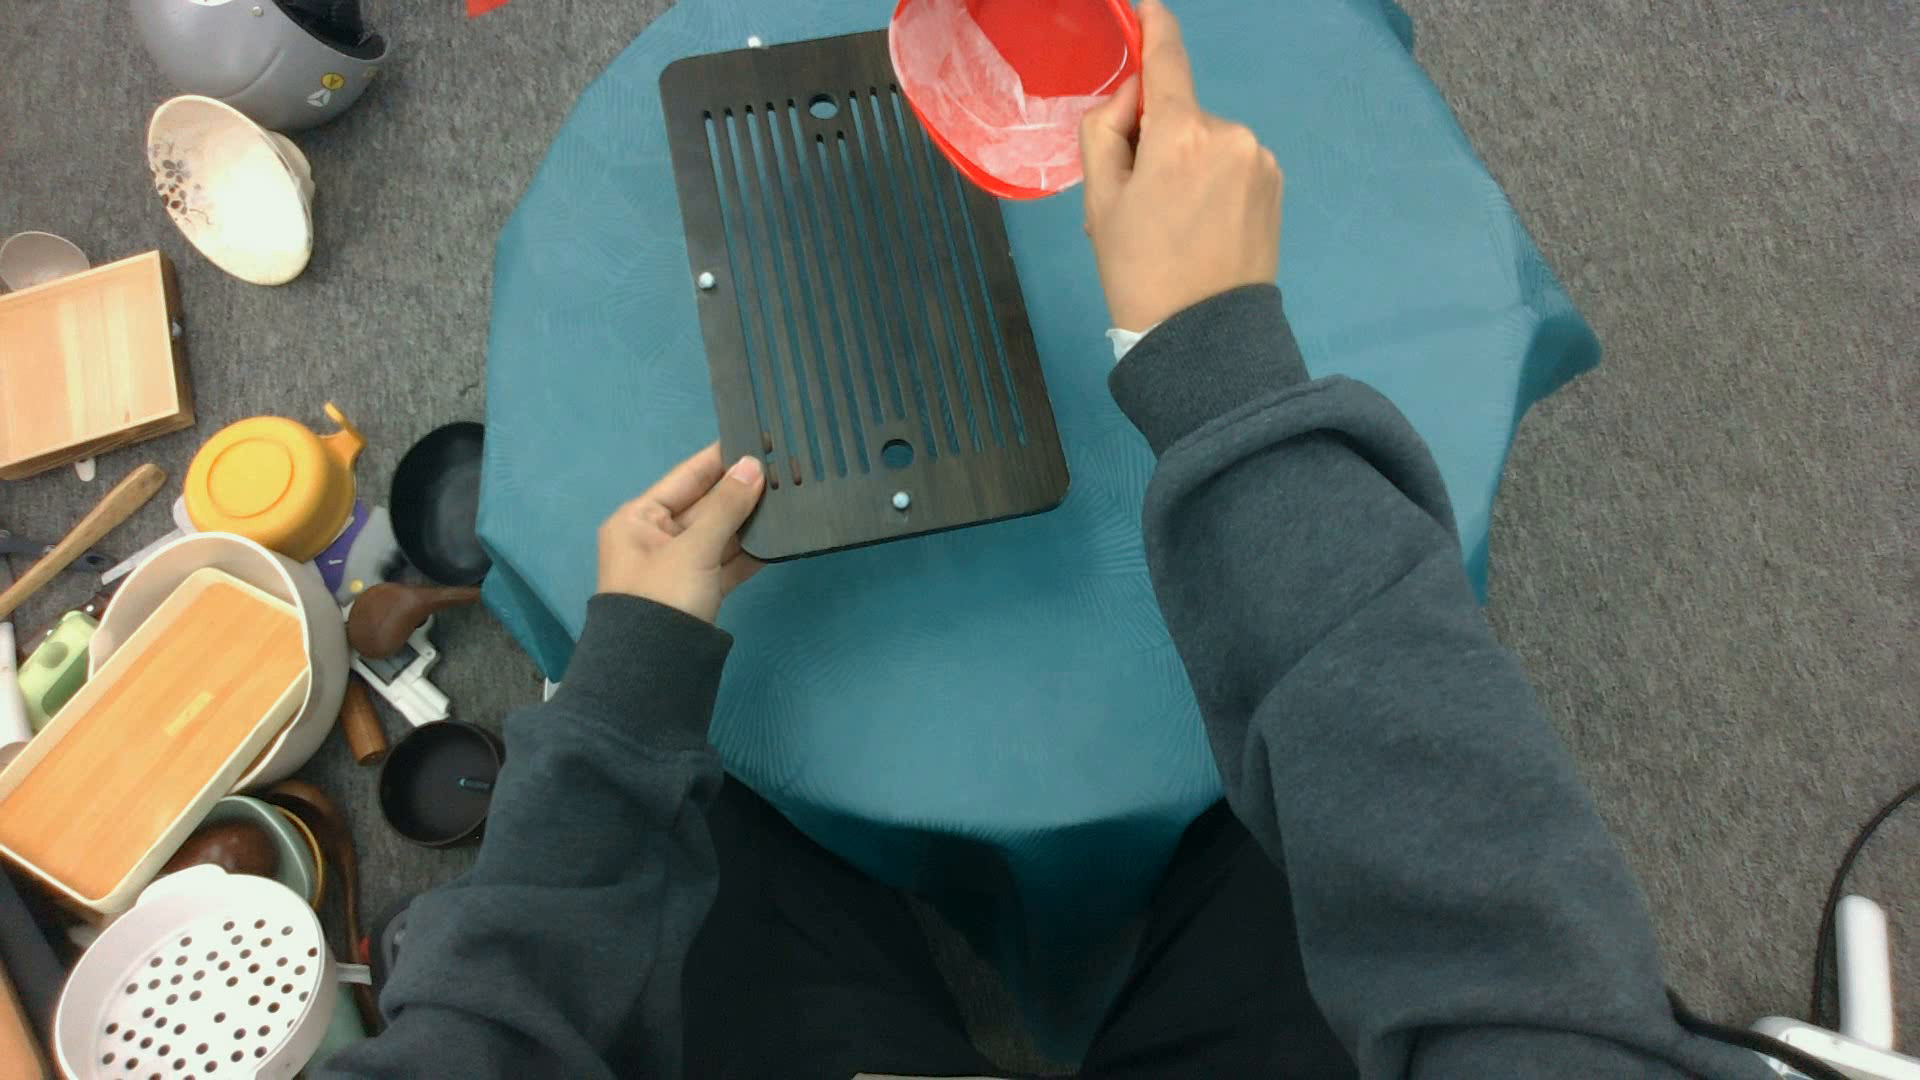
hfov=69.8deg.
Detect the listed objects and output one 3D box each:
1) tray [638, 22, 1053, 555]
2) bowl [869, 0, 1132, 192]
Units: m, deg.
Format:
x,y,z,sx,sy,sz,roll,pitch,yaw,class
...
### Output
x,y,z,sx,sy,sz,roll,pitch,yaw,class
-0.067,-0.144,0.734,0.170,0.018,0.306,-11,70,-7,tray
0.025,-0.216,0.600,0.119,0.118,0.051,24,44,11,bowl
